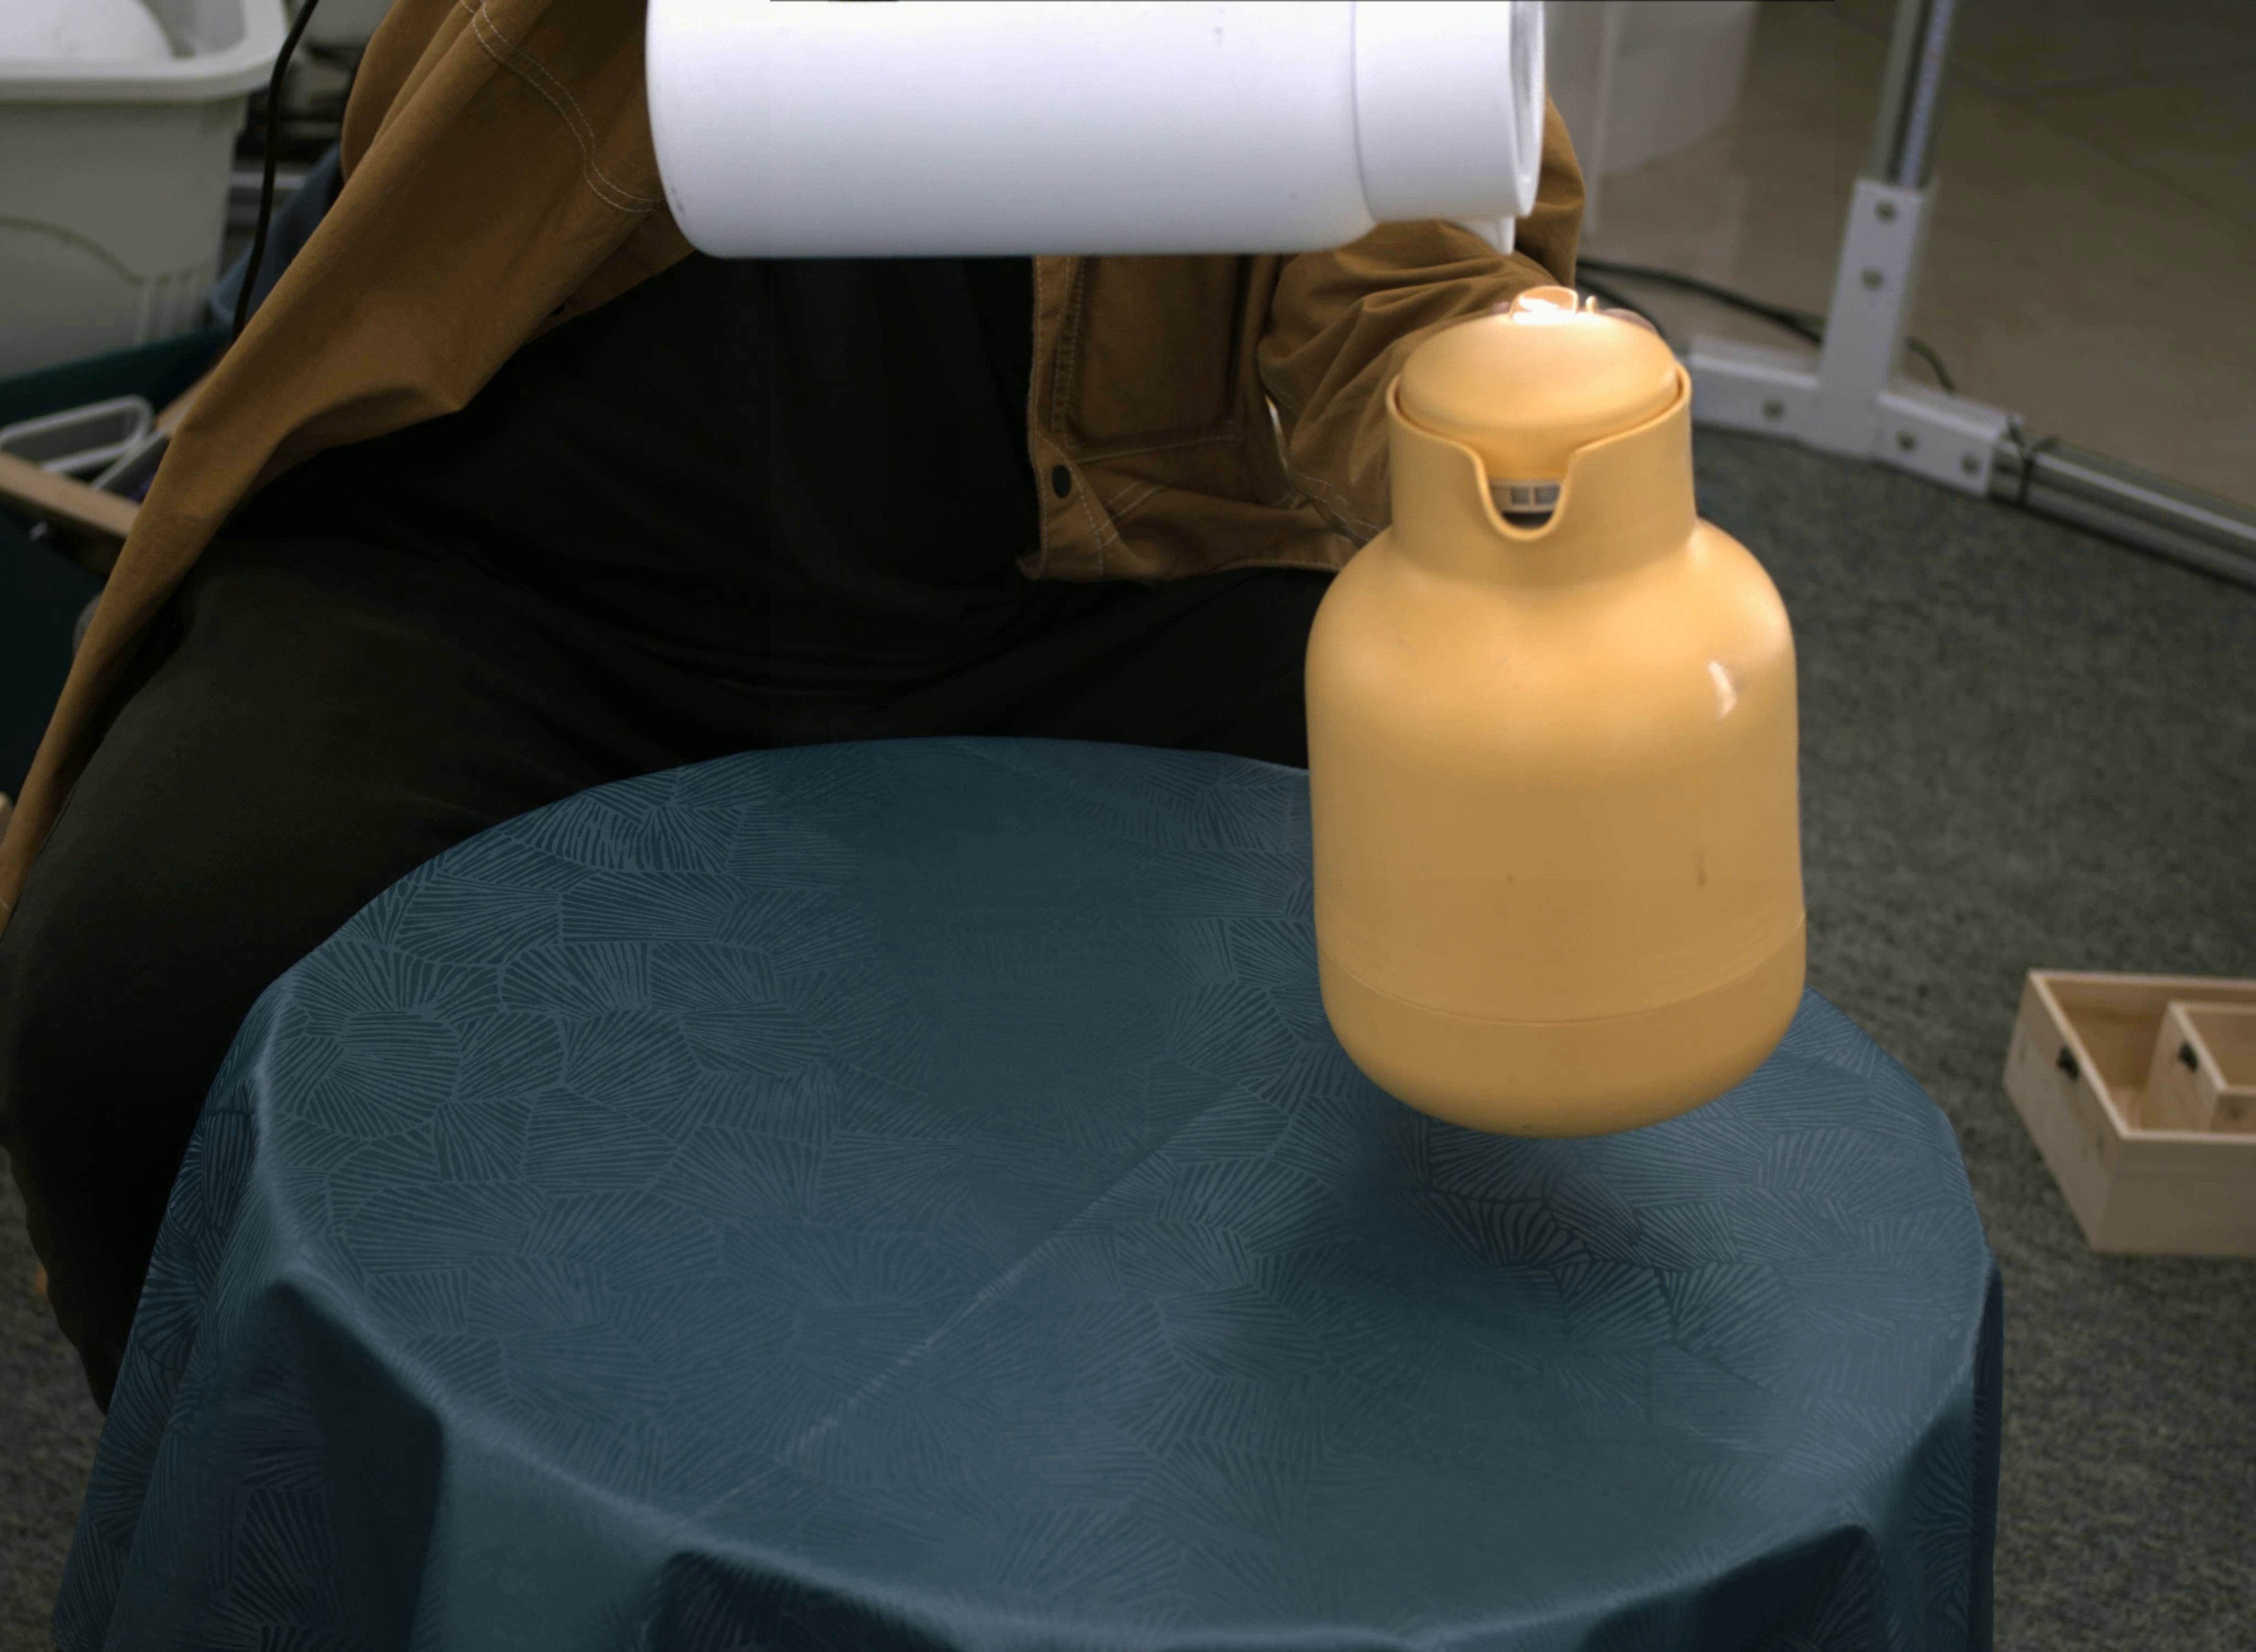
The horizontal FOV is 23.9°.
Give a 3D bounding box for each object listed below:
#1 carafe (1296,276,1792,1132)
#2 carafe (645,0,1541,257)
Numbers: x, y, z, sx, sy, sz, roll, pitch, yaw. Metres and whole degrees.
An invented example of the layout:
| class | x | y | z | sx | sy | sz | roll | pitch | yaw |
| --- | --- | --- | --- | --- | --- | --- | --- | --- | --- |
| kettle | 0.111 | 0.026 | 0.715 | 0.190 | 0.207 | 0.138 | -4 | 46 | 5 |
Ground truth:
| class | x | y | z | sx | sy | sz | roll | pitch | yaw |
| --- | --- | --- | --- | --- | --- | --- | --- | --- | --- |
| carafe | 0.140 | -0.049 | 1.754 | 0.163 | 0.259 | 0.203 | 3 | 29 | 10 |
| carafe | -0.011 | -0.250 | 1.633 | 0.269 | 0.172 | 0.124 | 1 | 38 | 13 |
